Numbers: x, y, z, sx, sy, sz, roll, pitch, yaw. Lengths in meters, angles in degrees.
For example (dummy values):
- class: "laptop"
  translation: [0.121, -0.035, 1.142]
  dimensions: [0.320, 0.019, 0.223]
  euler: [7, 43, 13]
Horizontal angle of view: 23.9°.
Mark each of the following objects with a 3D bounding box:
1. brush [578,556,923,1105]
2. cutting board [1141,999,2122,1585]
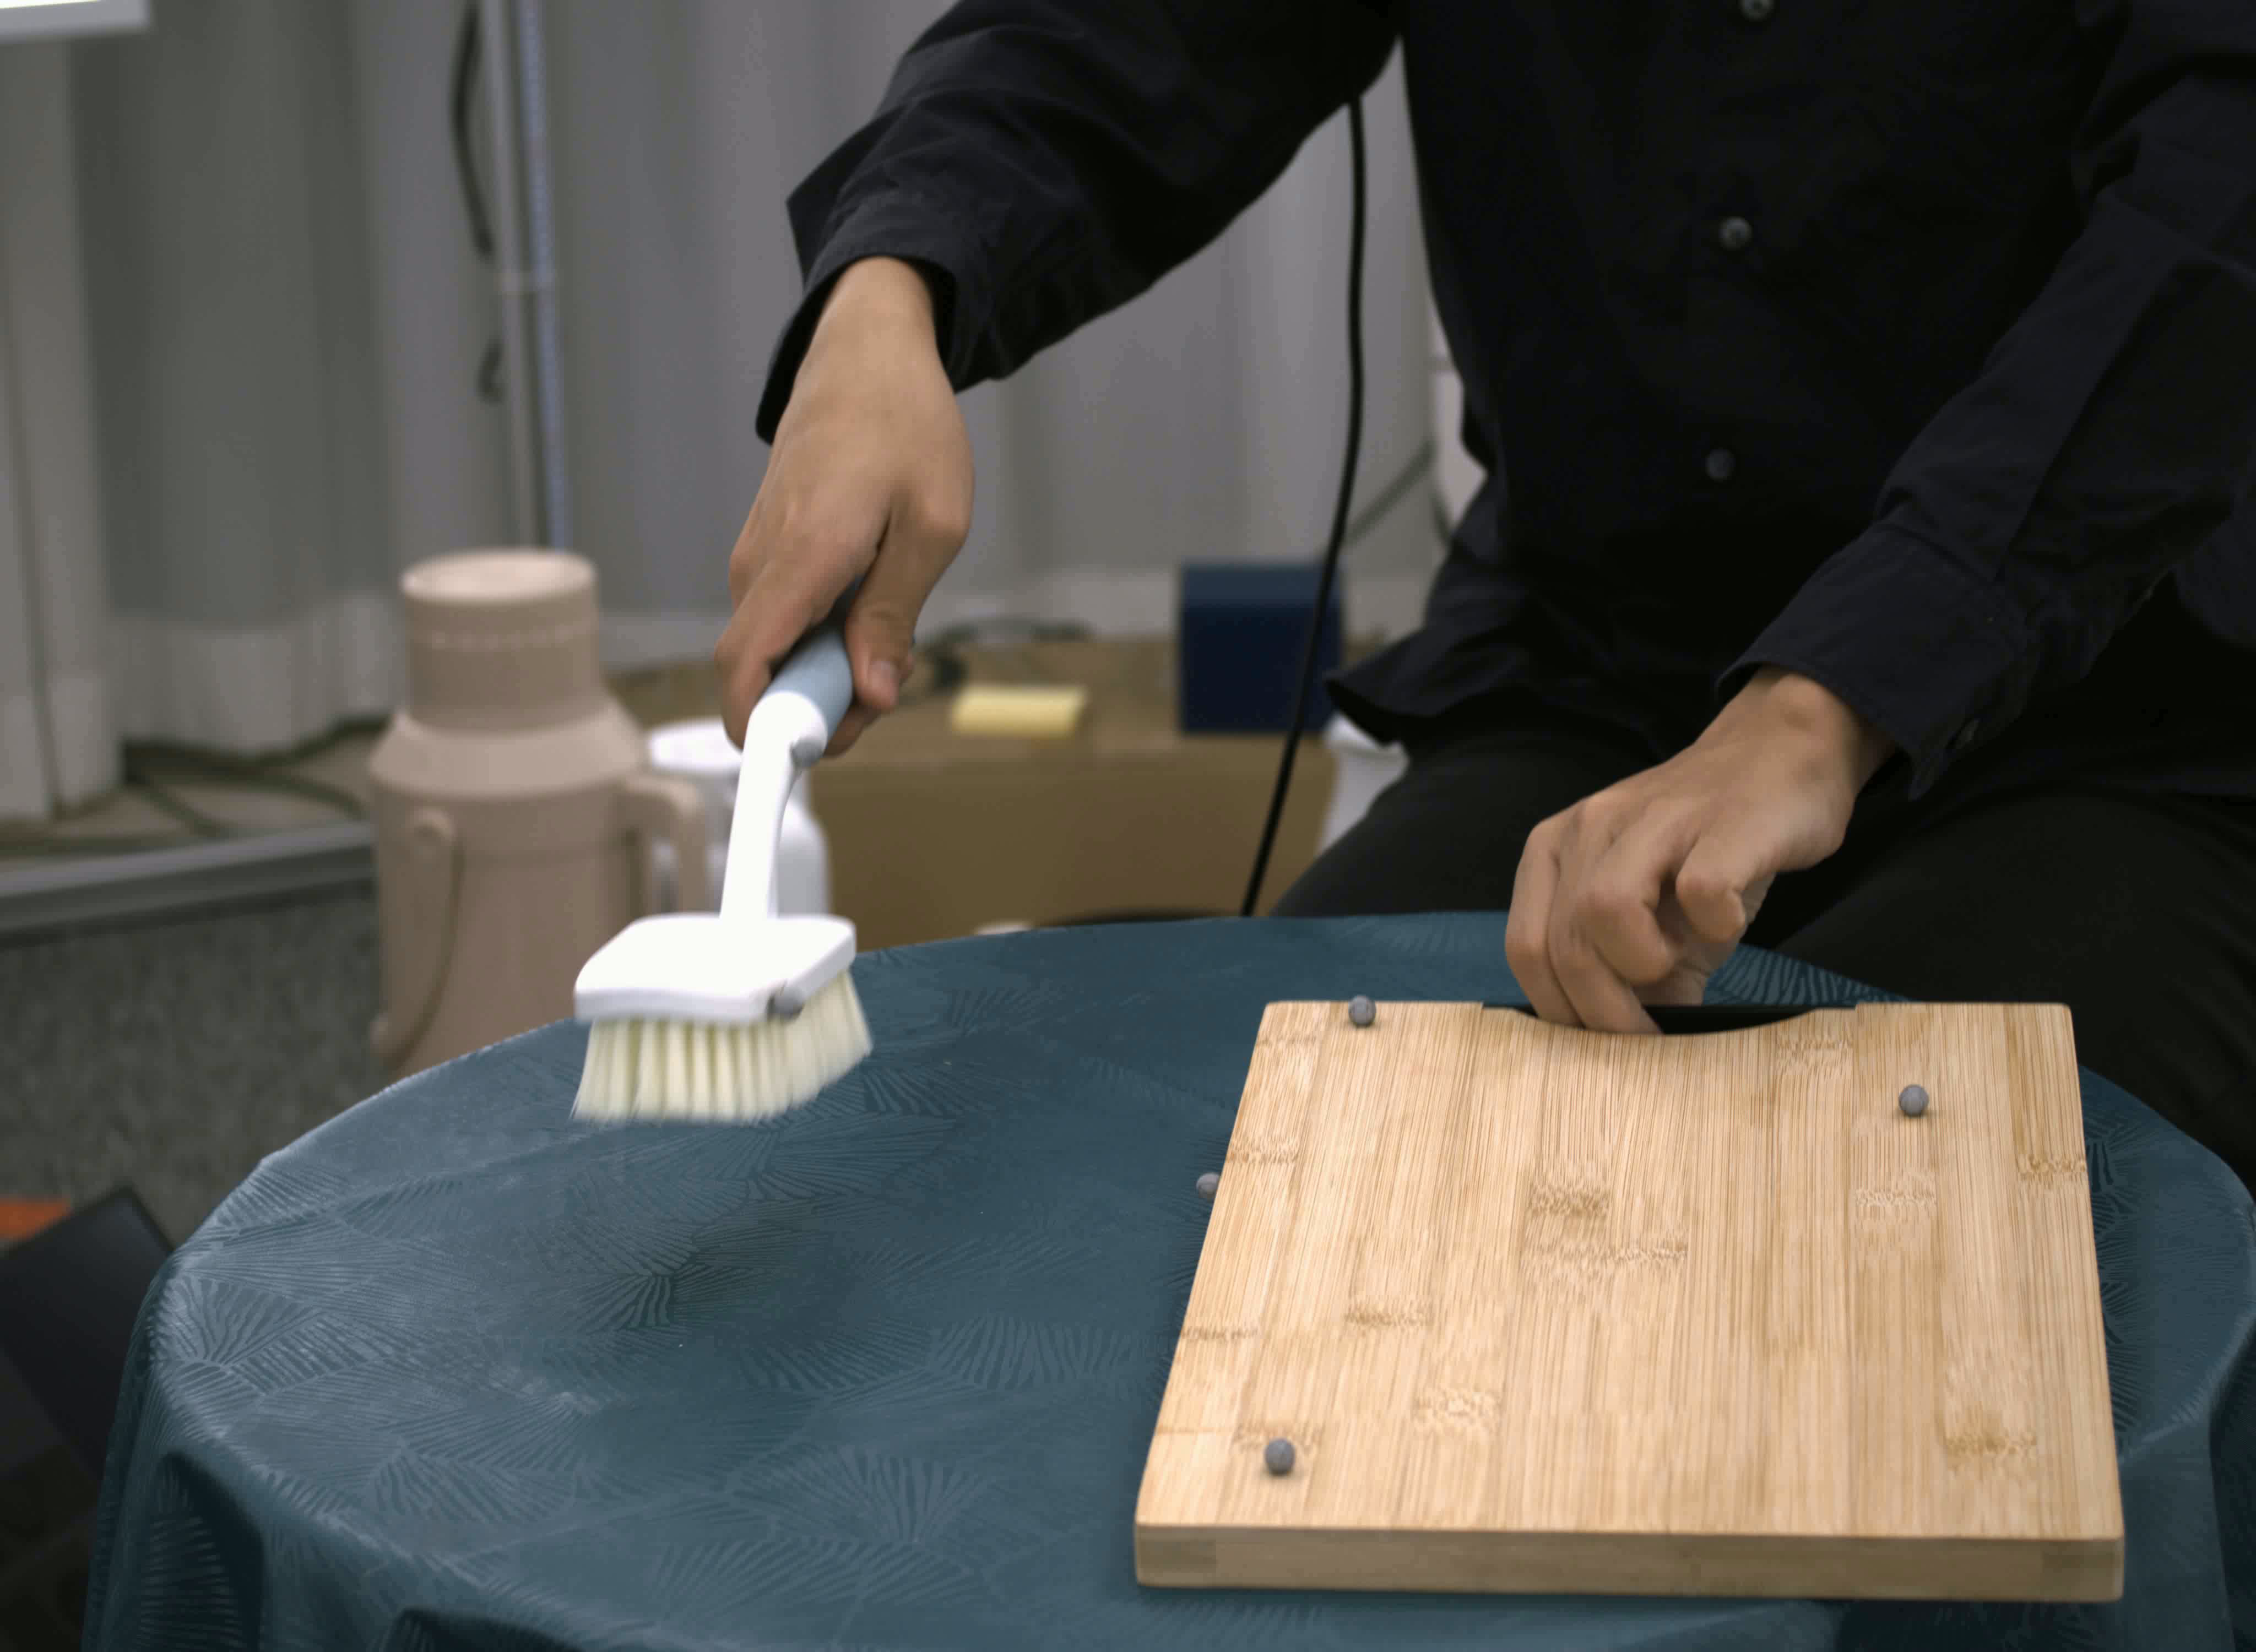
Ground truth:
- class: "brush"
  translation: [-0.098, 0.017, 1.596]
  dimensions: [0.082, 0.085, 0.324]
  euler: [34, 25, -4]
- class: "cutting board"
  translation: [0.142, 0.120, 1.431]
  dimensions: [0.251, 0.023, 0.349]
  euler: [0, 20, 7]
